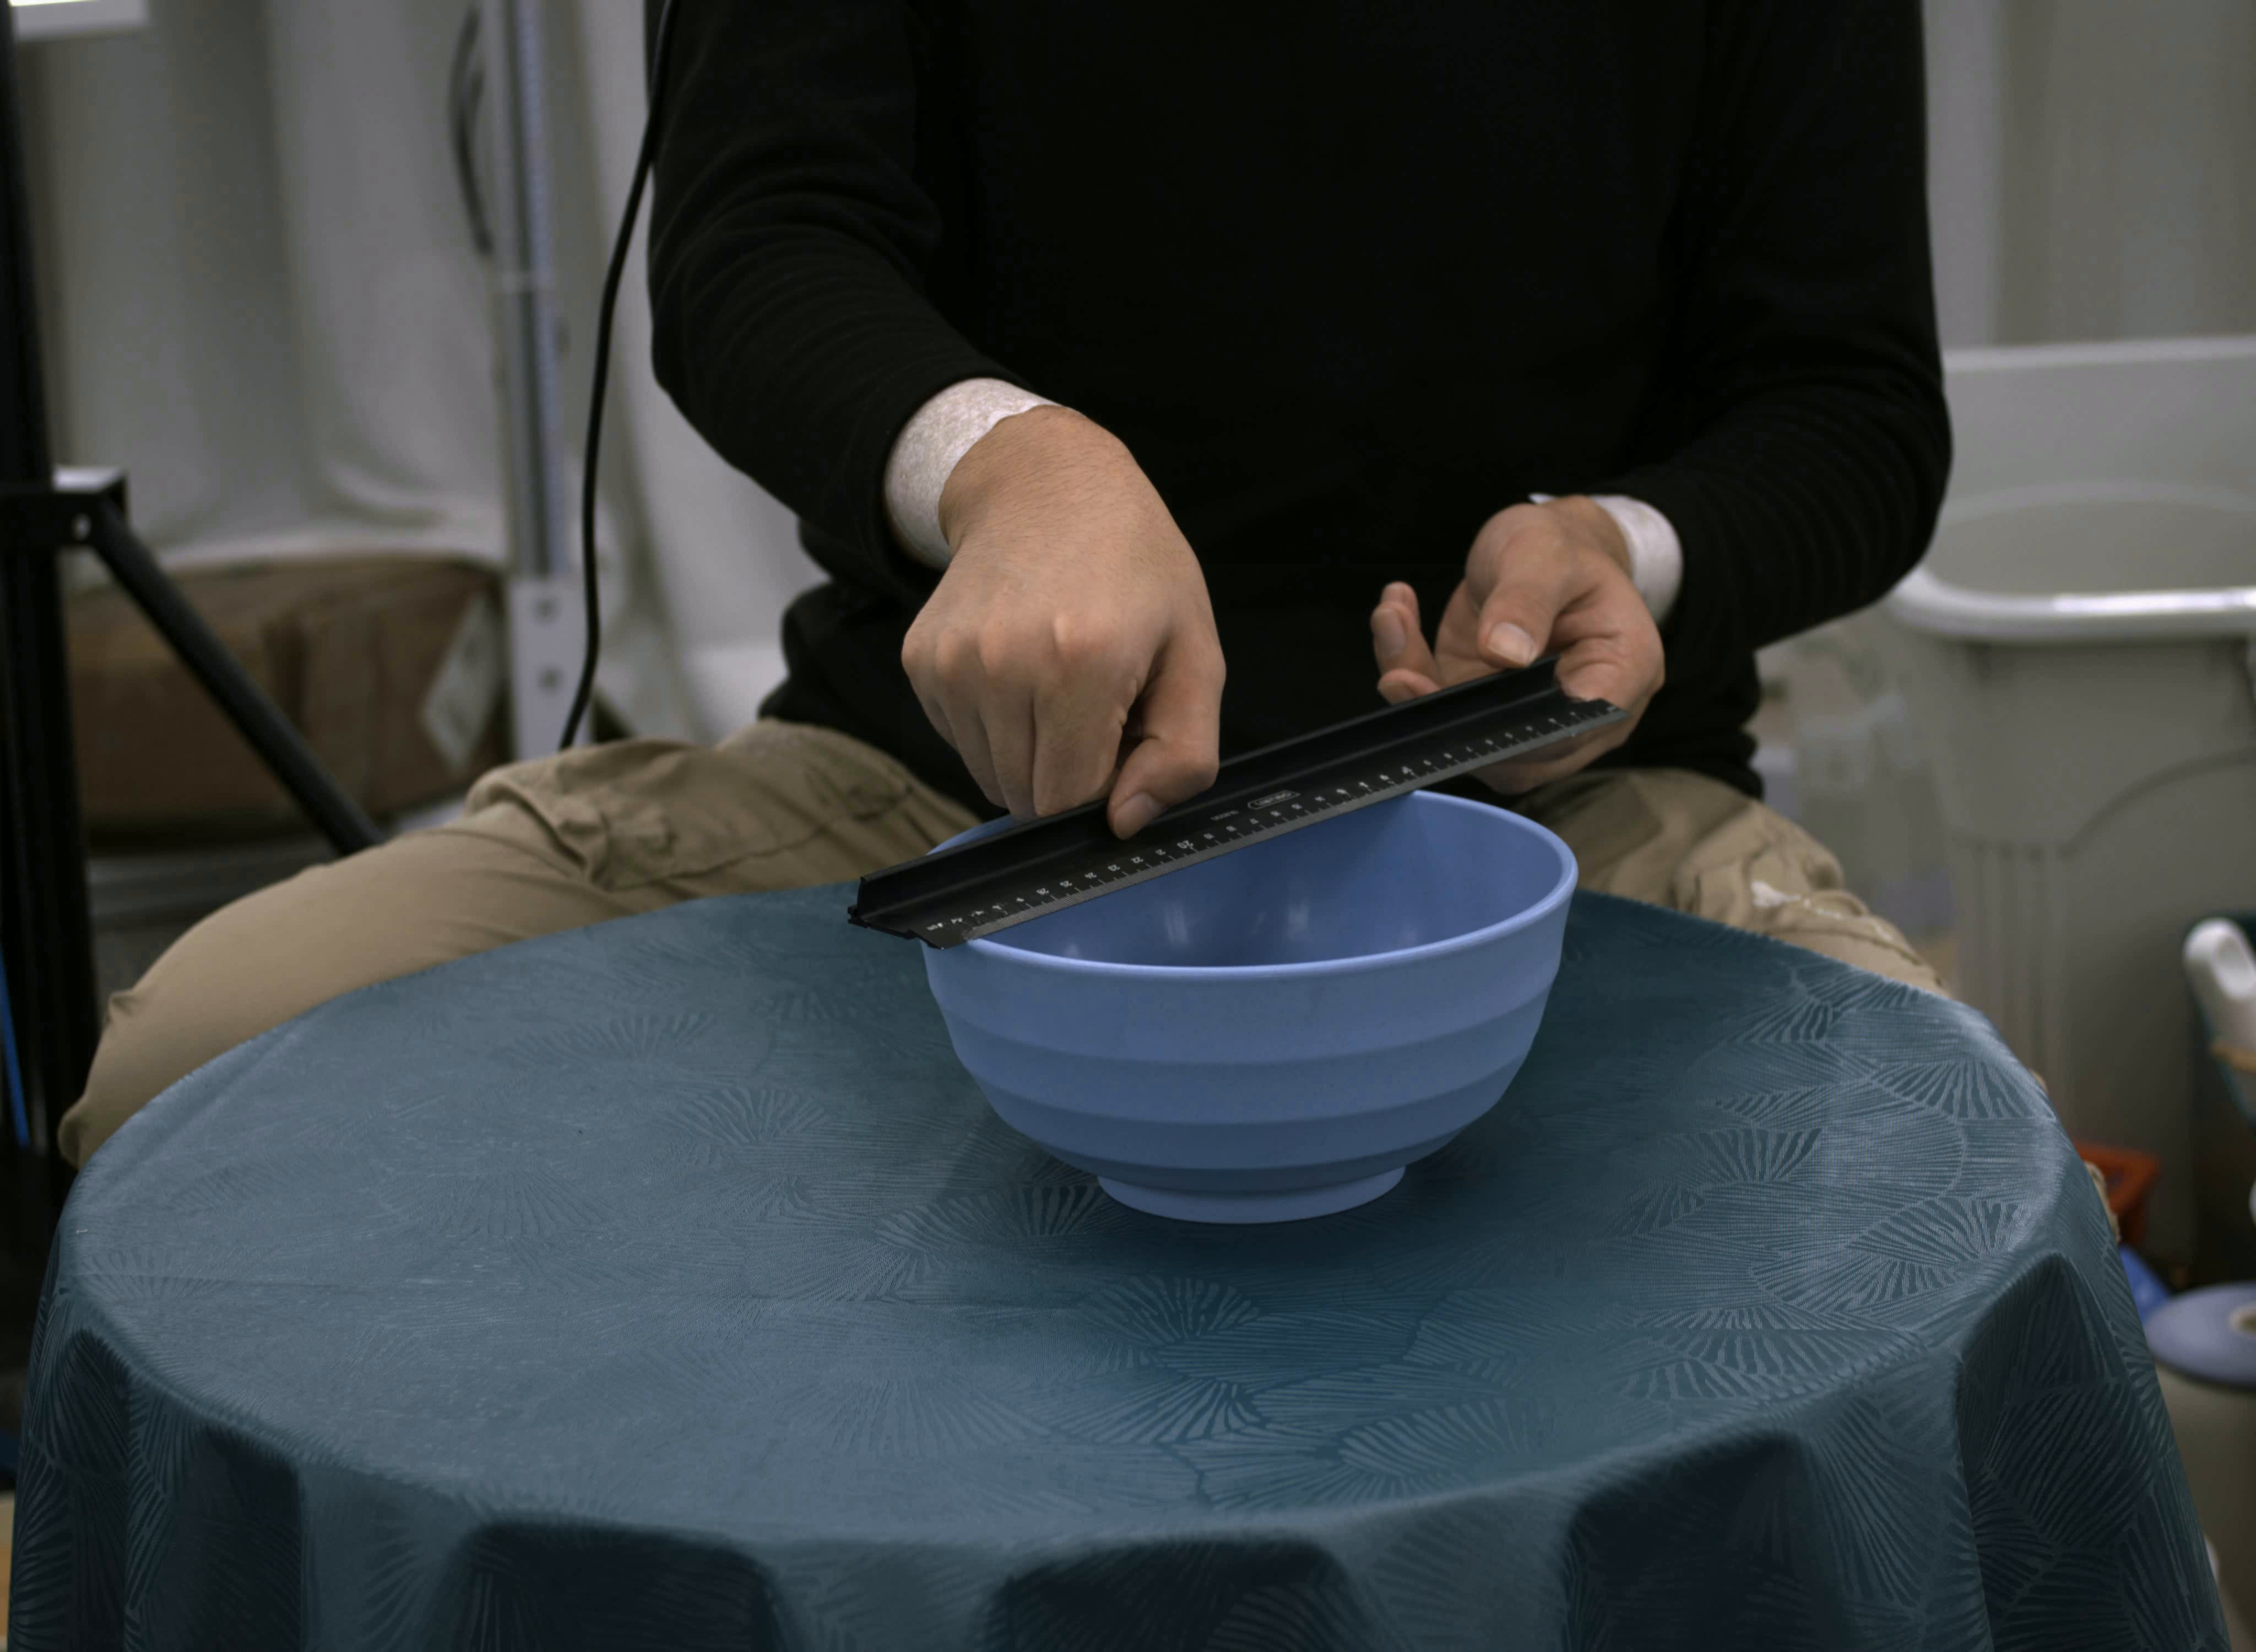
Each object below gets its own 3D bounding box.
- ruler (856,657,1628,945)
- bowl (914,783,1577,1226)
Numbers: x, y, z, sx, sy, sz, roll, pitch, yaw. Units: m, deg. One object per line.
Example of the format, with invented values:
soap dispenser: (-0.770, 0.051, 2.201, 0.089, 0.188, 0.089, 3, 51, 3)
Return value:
ruler: (0.041, -0.010, 1.595, 0.040, 0.017, 0.305, 20, 27, 41)
bowl: (0.034, 0.057, 1.556, 0.195, 0.095, 0.197, -3, 16, -1)
